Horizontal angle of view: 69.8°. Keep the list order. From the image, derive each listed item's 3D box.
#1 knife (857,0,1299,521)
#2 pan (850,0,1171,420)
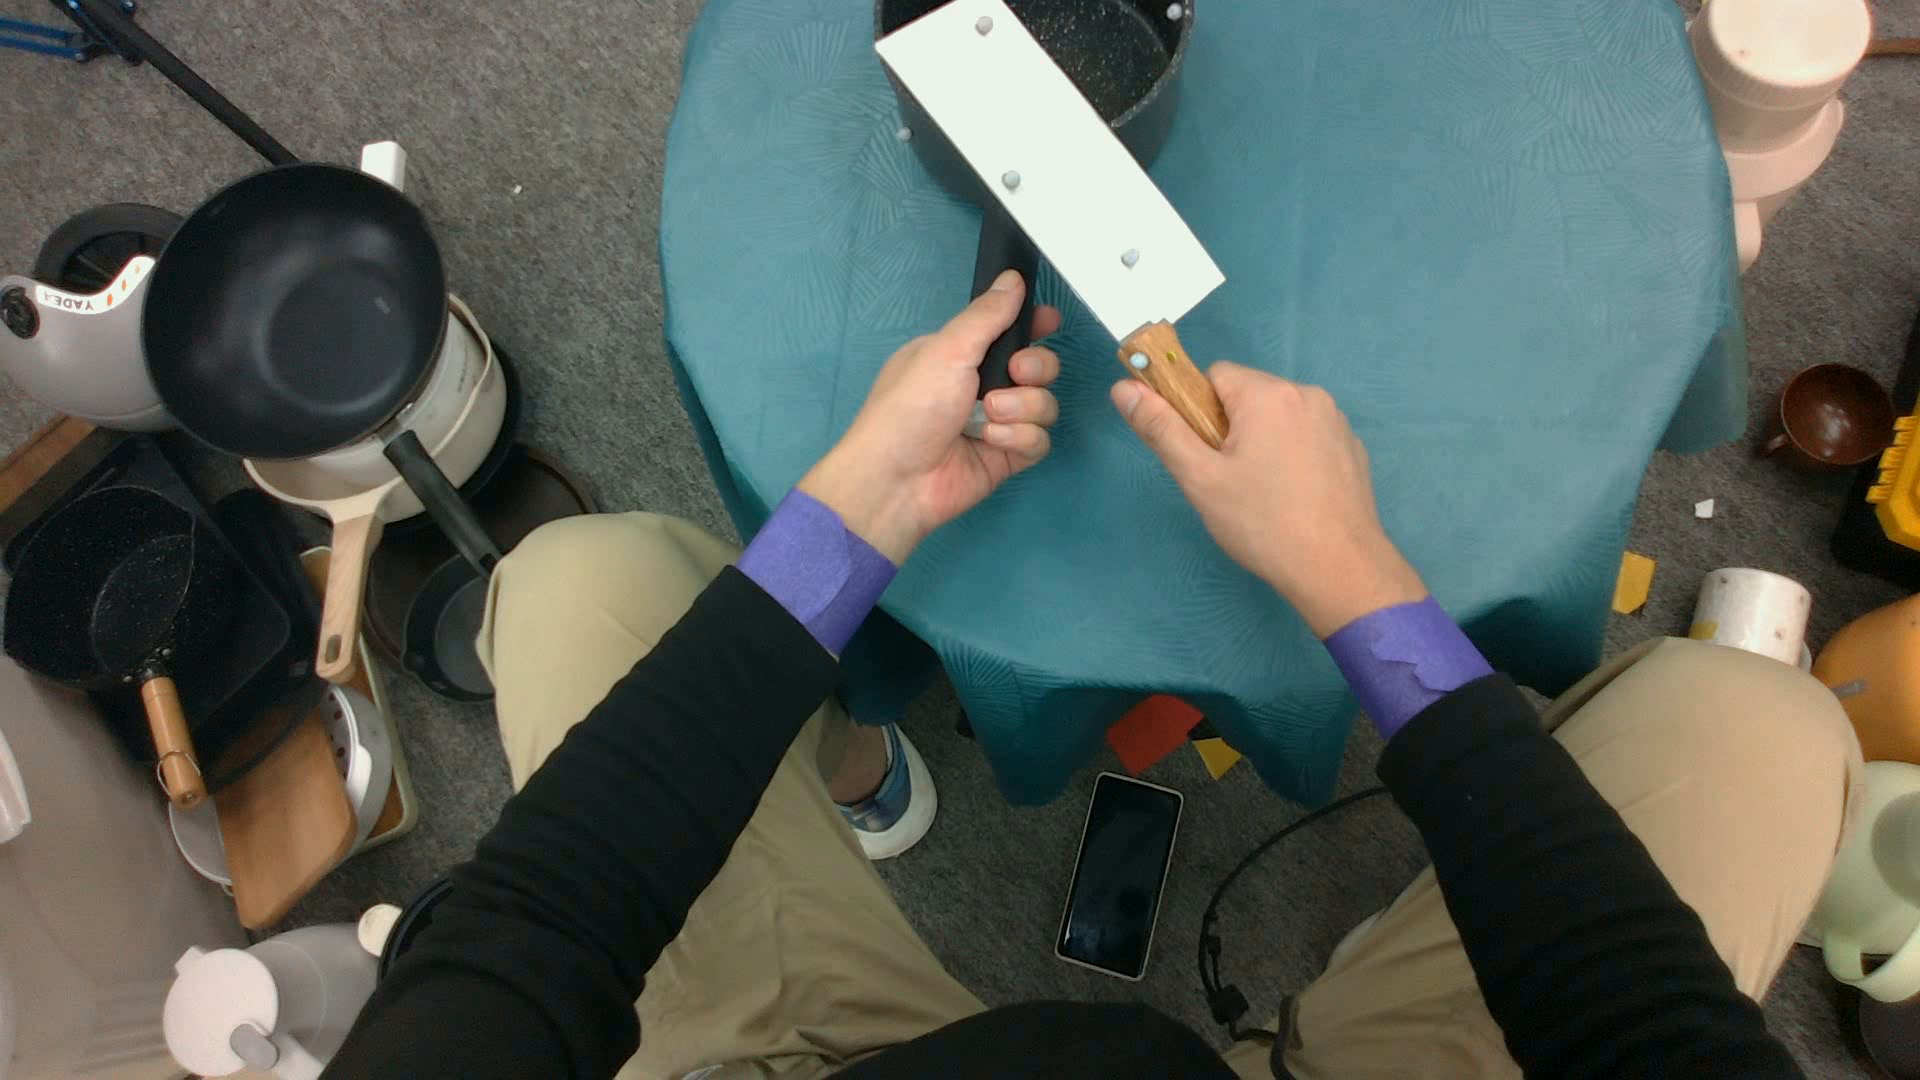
[{"bbox_3d":[0.073,-0.146,0.674,0.305,0.021,0.093,50,53,-3],"label":"knife"},{"bbox_3d":[0.019,-0.206,0.744,0.172,0.086,0.329,6,72,8],"label":"pan"}]
